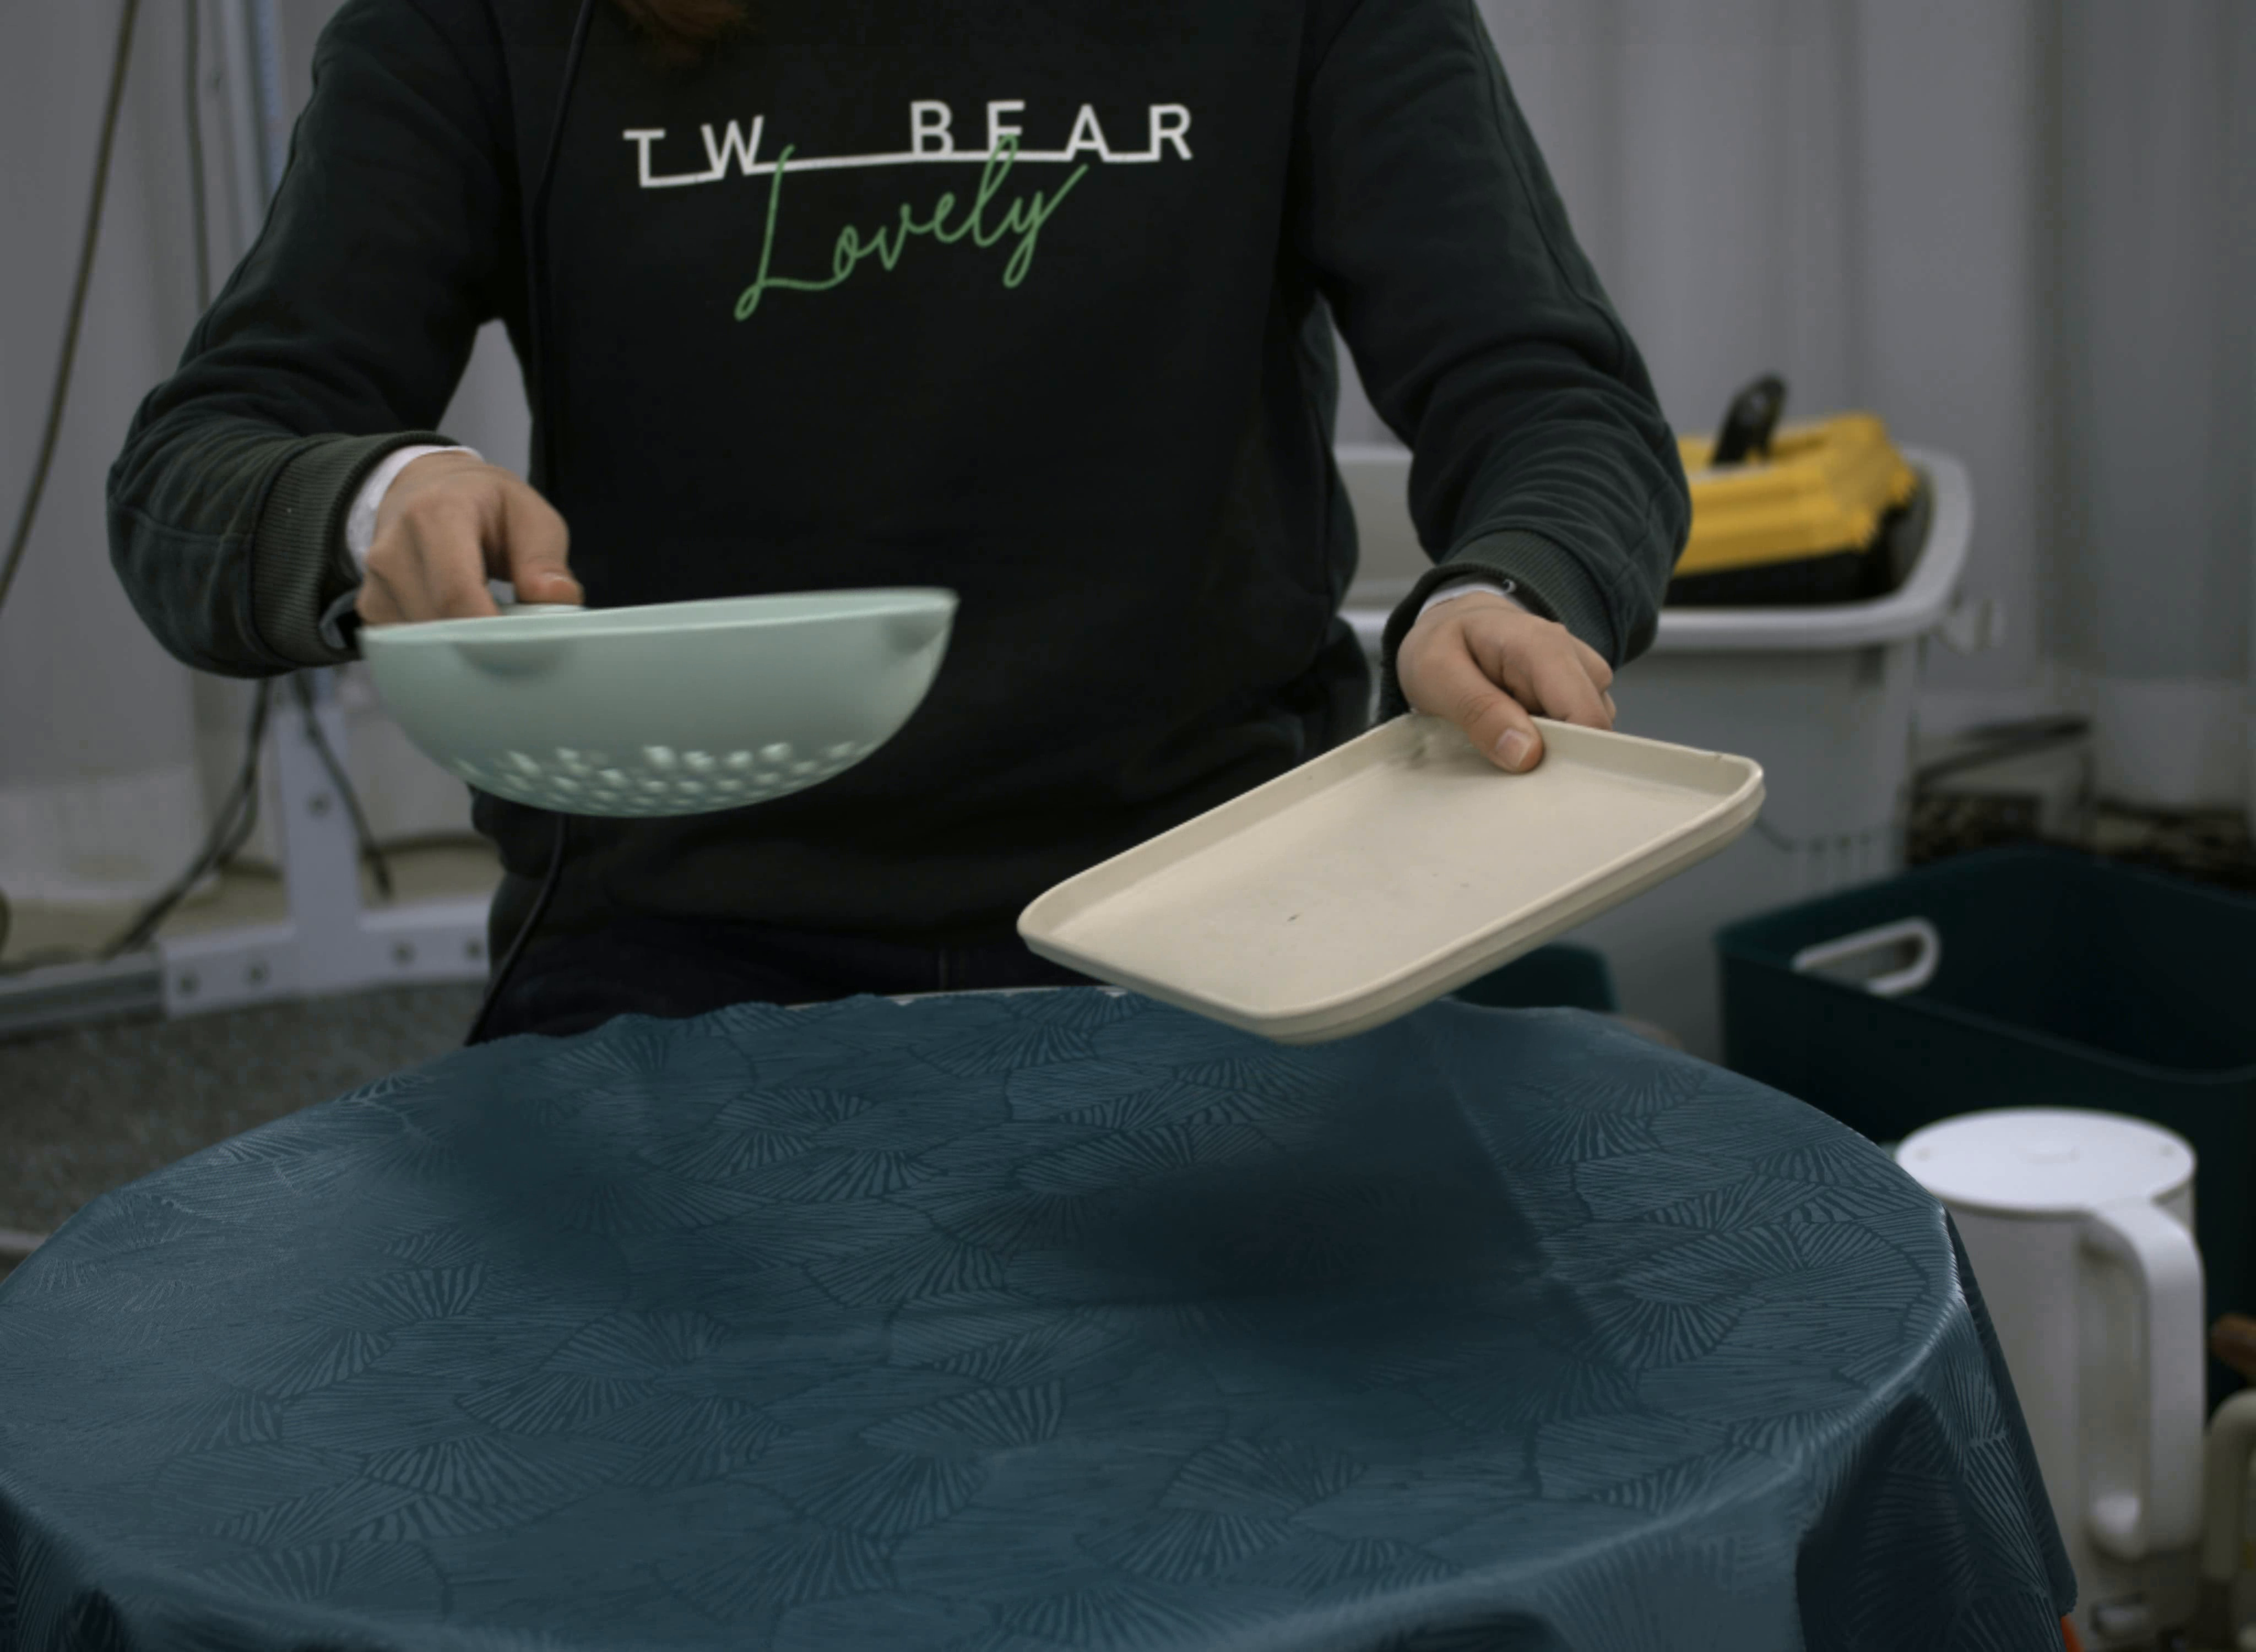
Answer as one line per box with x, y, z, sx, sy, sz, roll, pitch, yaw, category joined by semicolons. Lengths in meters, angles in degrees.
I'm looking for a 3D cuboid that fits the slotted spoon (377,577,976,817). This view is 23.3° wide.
-0.162;-0.054;1.650;0.168;0.075;0.361;-6;13;-20;slotted spoon

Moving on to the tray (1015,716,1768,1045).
0.075;0.015;1.622;0.171;0.017;0.241;-26;14;-18;tray
